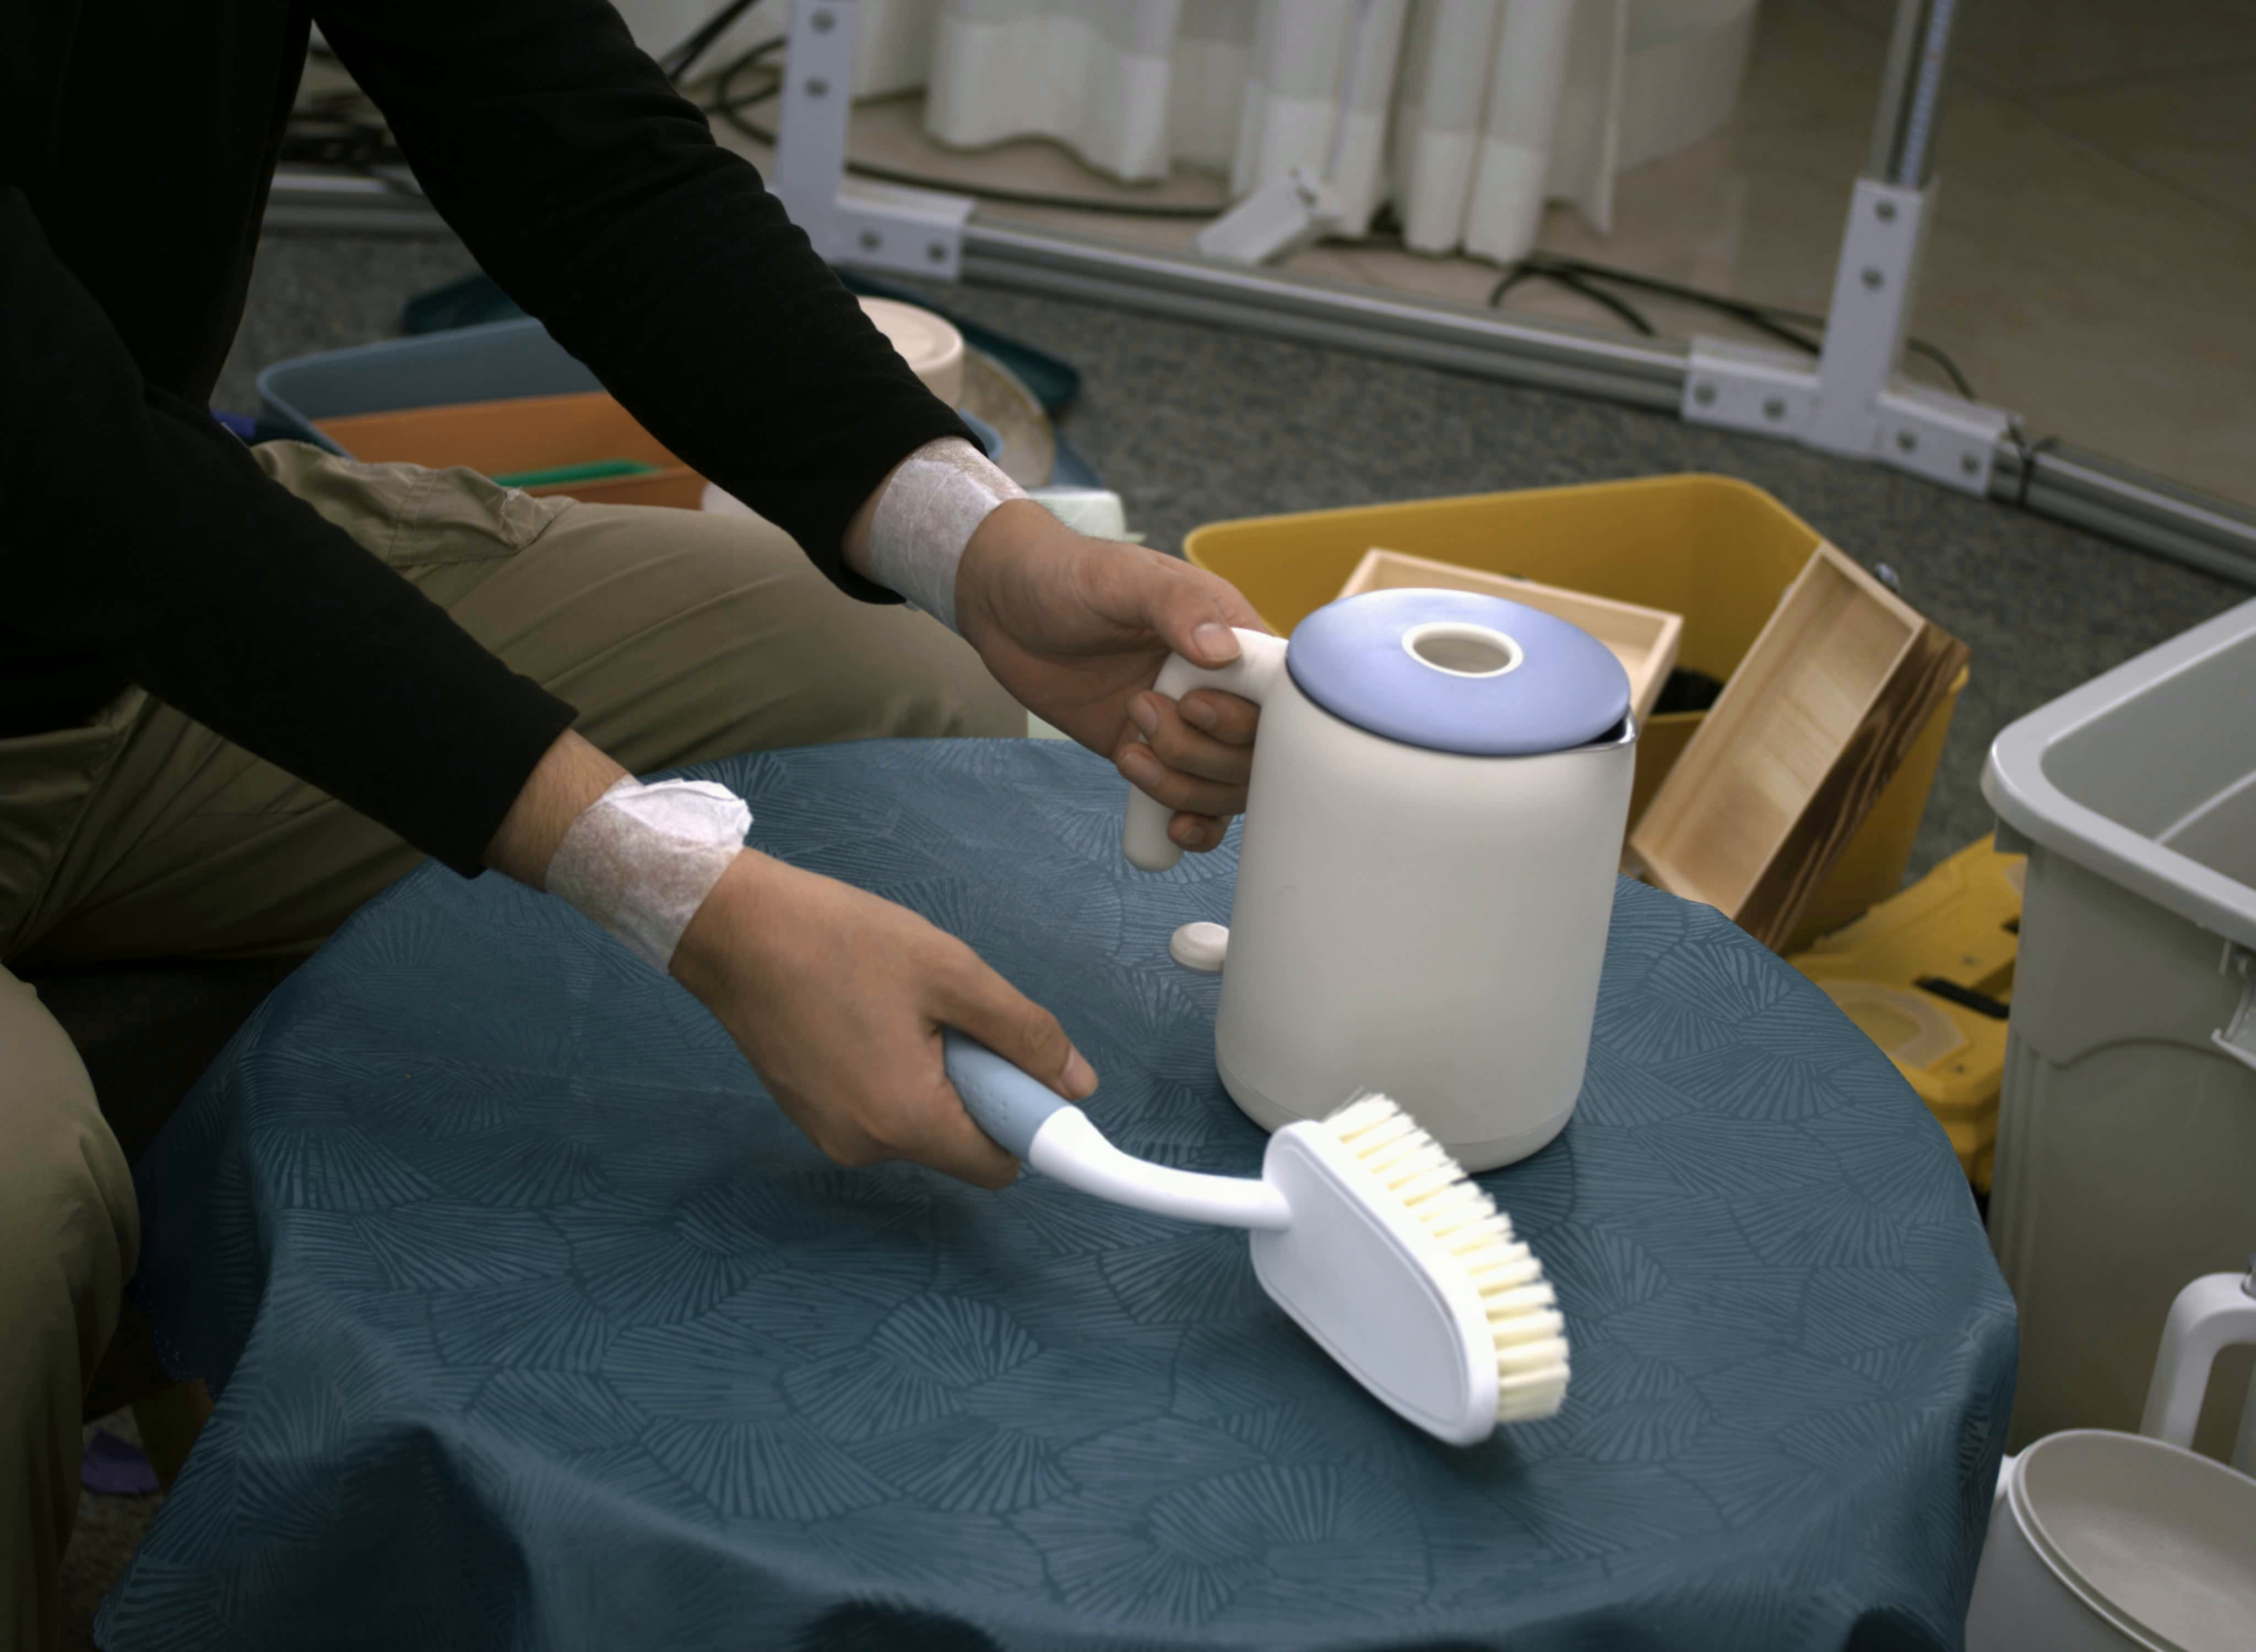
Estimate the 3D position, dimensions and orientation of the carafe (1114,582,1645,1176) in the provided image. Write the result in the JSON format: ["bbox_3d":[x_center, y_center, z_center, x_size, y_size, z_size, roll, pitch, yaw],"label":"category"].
[{"bbox_3d":[0.082,0.010,1.854,0.192,0.182,0.132,19,29,25],"label":"carafe"}]

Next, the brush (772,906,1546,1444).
[{"bbox_3d":[0.017,0.096,1.745,0.328,0.083,0.084,33,2,32],"label":"brush"}]
